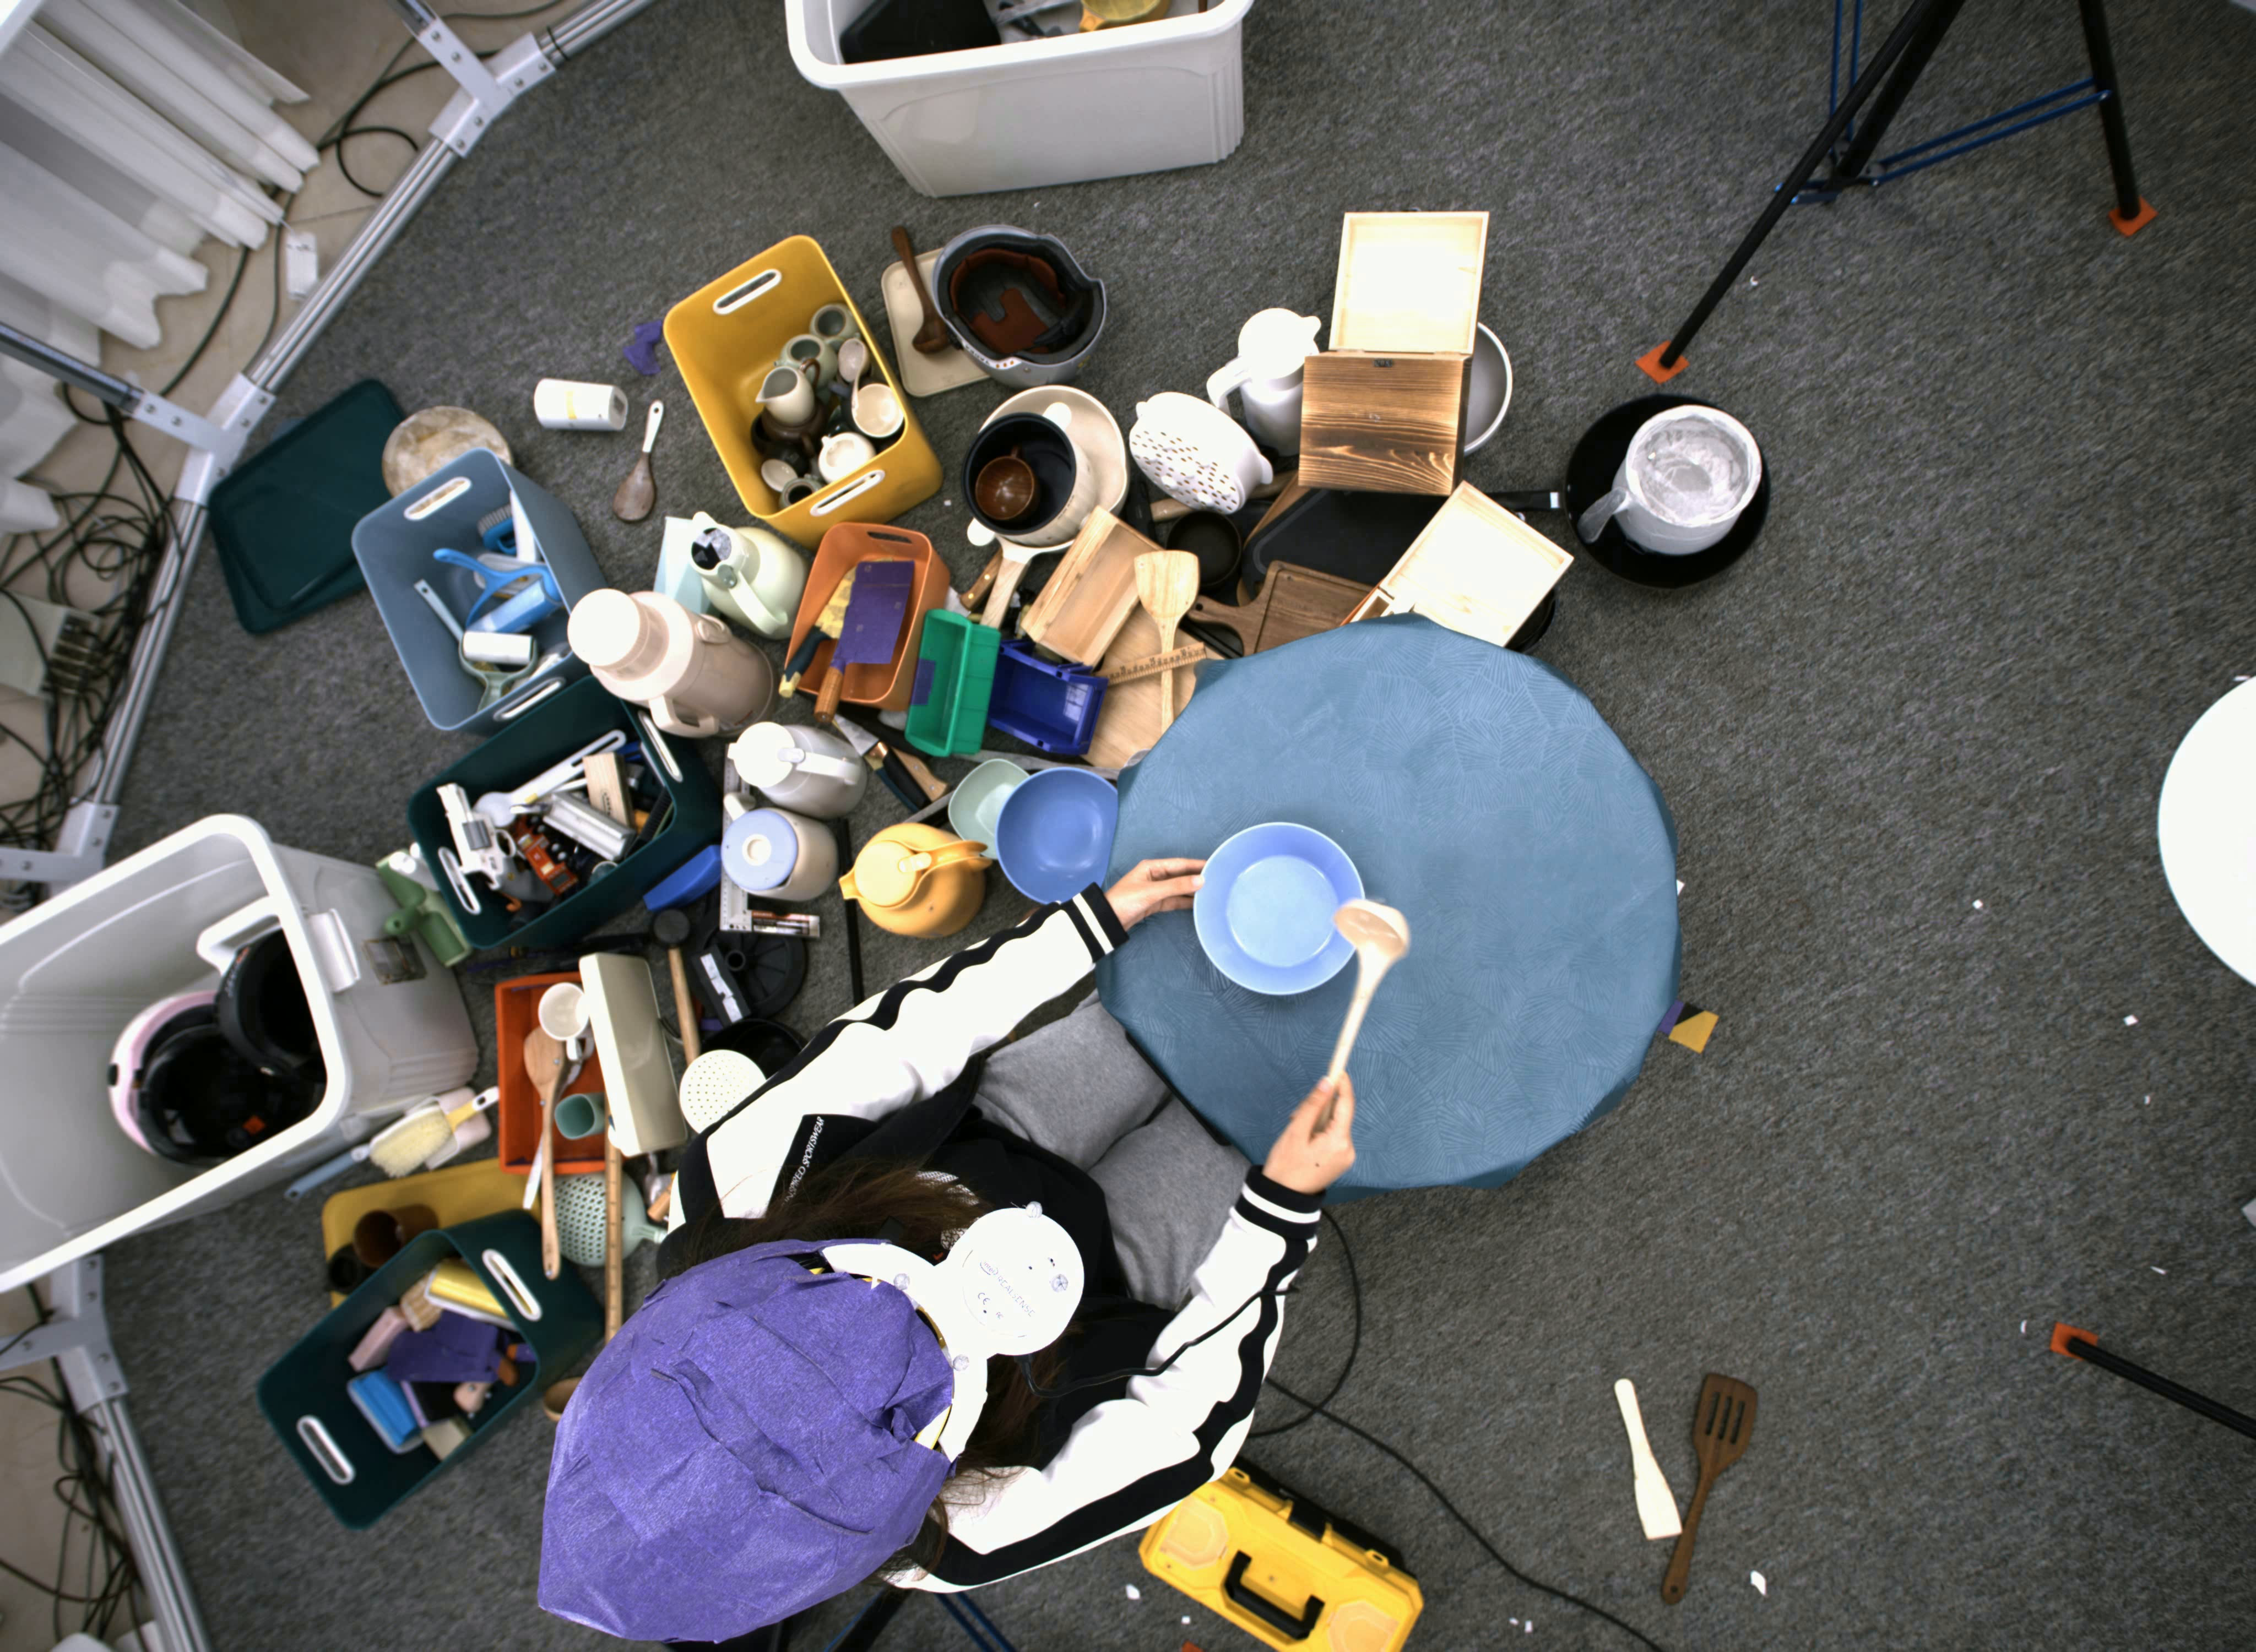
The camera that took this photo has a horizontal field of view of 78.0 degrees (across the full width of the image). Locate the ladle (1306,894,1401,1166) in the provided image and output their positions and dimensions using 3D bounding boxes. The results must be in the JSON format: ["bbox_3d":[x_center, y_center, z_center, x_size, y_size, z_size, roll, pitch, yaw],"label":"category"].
[{"bbox_3d":[0.191,0.187,1.276,0.072,0.073,0.253,13,85,30],"label":"ladle"}]

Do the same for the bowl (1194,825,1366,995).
[{"bbox_3d":[0.160,0.088,1.444,0.177,0.070,0.175,-1,85,11],"label":"bowl"}]
